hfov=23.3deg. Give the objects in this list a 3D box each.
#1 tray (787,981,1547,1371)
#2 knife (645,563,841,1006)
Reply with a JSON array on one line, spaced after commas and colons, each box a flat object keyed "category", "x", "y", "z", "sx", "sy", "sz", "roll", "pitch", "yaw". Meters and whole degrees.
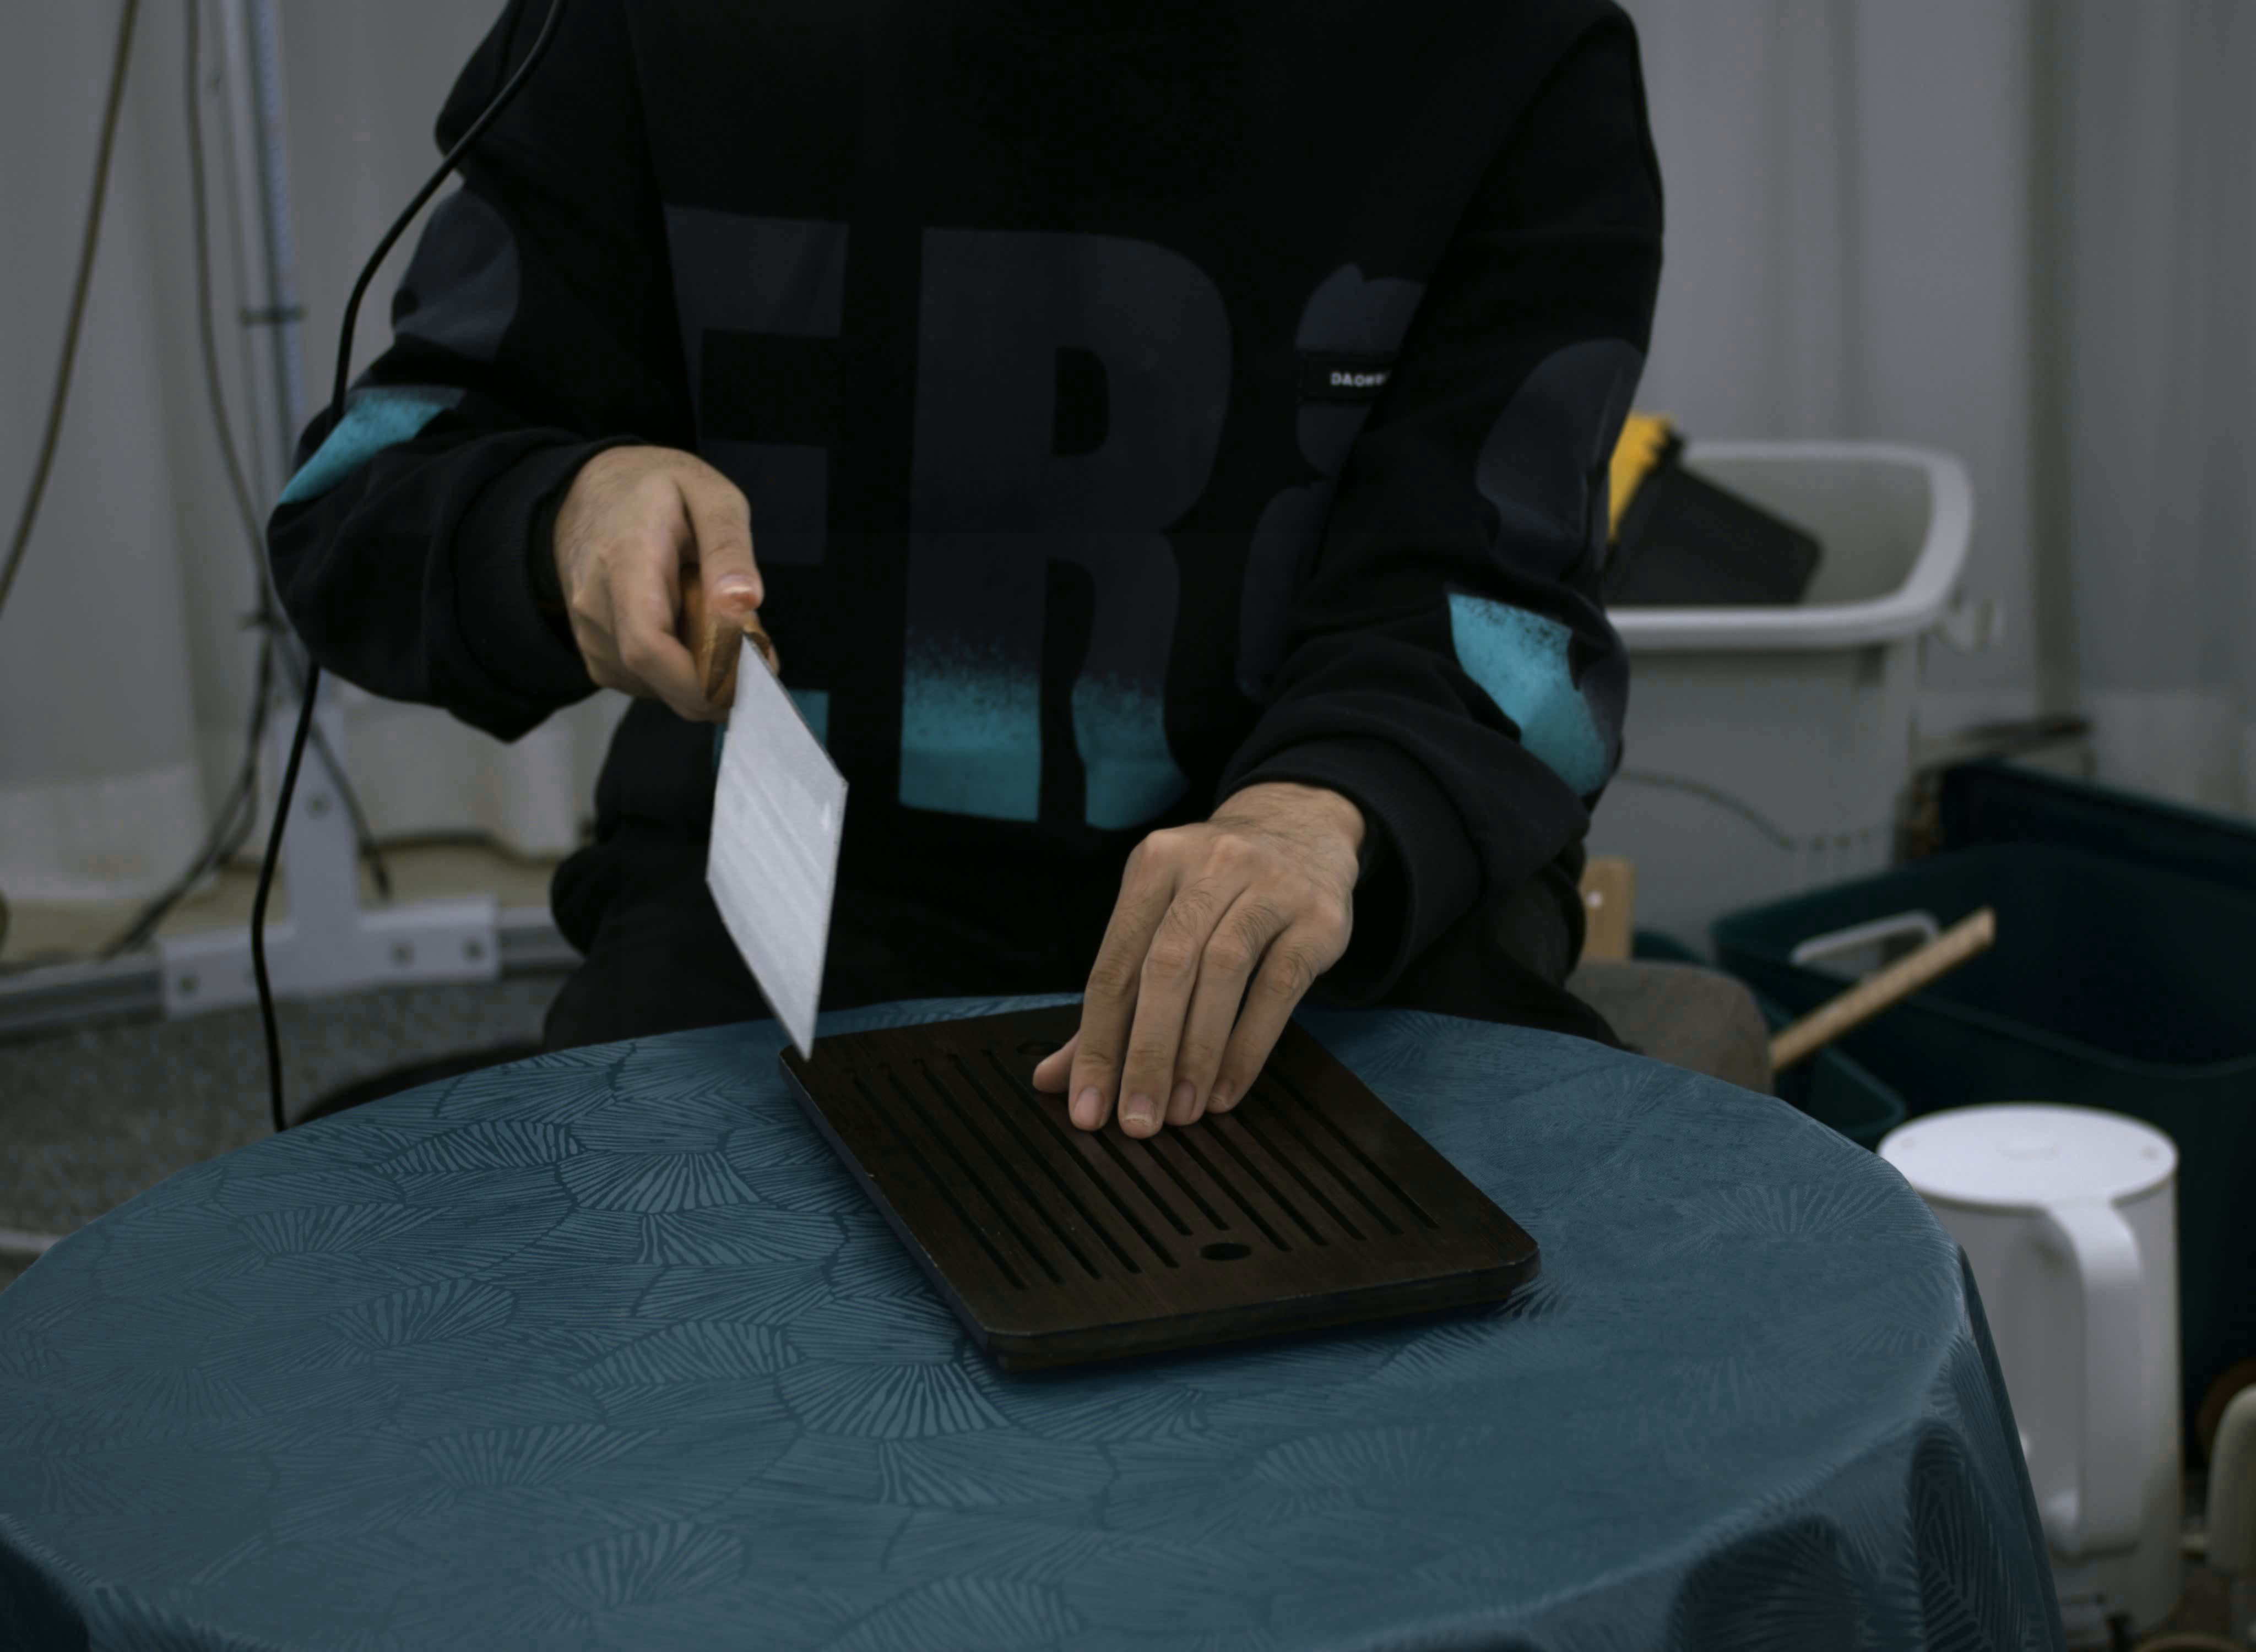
[{"category": "tray", "x": 0.005, "y": 0.106, "z": 1.711, "sx": 0.169, "sy": 0.018, "sz": 0.308, "roll": -7, "pitch": 16, "yaw": -14}, {"category": "knife", "x": -0.127, "y": -0.014, "z": 1.782, "sx": 0.021, "sy": 0.092, "sz": 0.308, "roll": 5, "pitch": 14, "yaw": -15}]
